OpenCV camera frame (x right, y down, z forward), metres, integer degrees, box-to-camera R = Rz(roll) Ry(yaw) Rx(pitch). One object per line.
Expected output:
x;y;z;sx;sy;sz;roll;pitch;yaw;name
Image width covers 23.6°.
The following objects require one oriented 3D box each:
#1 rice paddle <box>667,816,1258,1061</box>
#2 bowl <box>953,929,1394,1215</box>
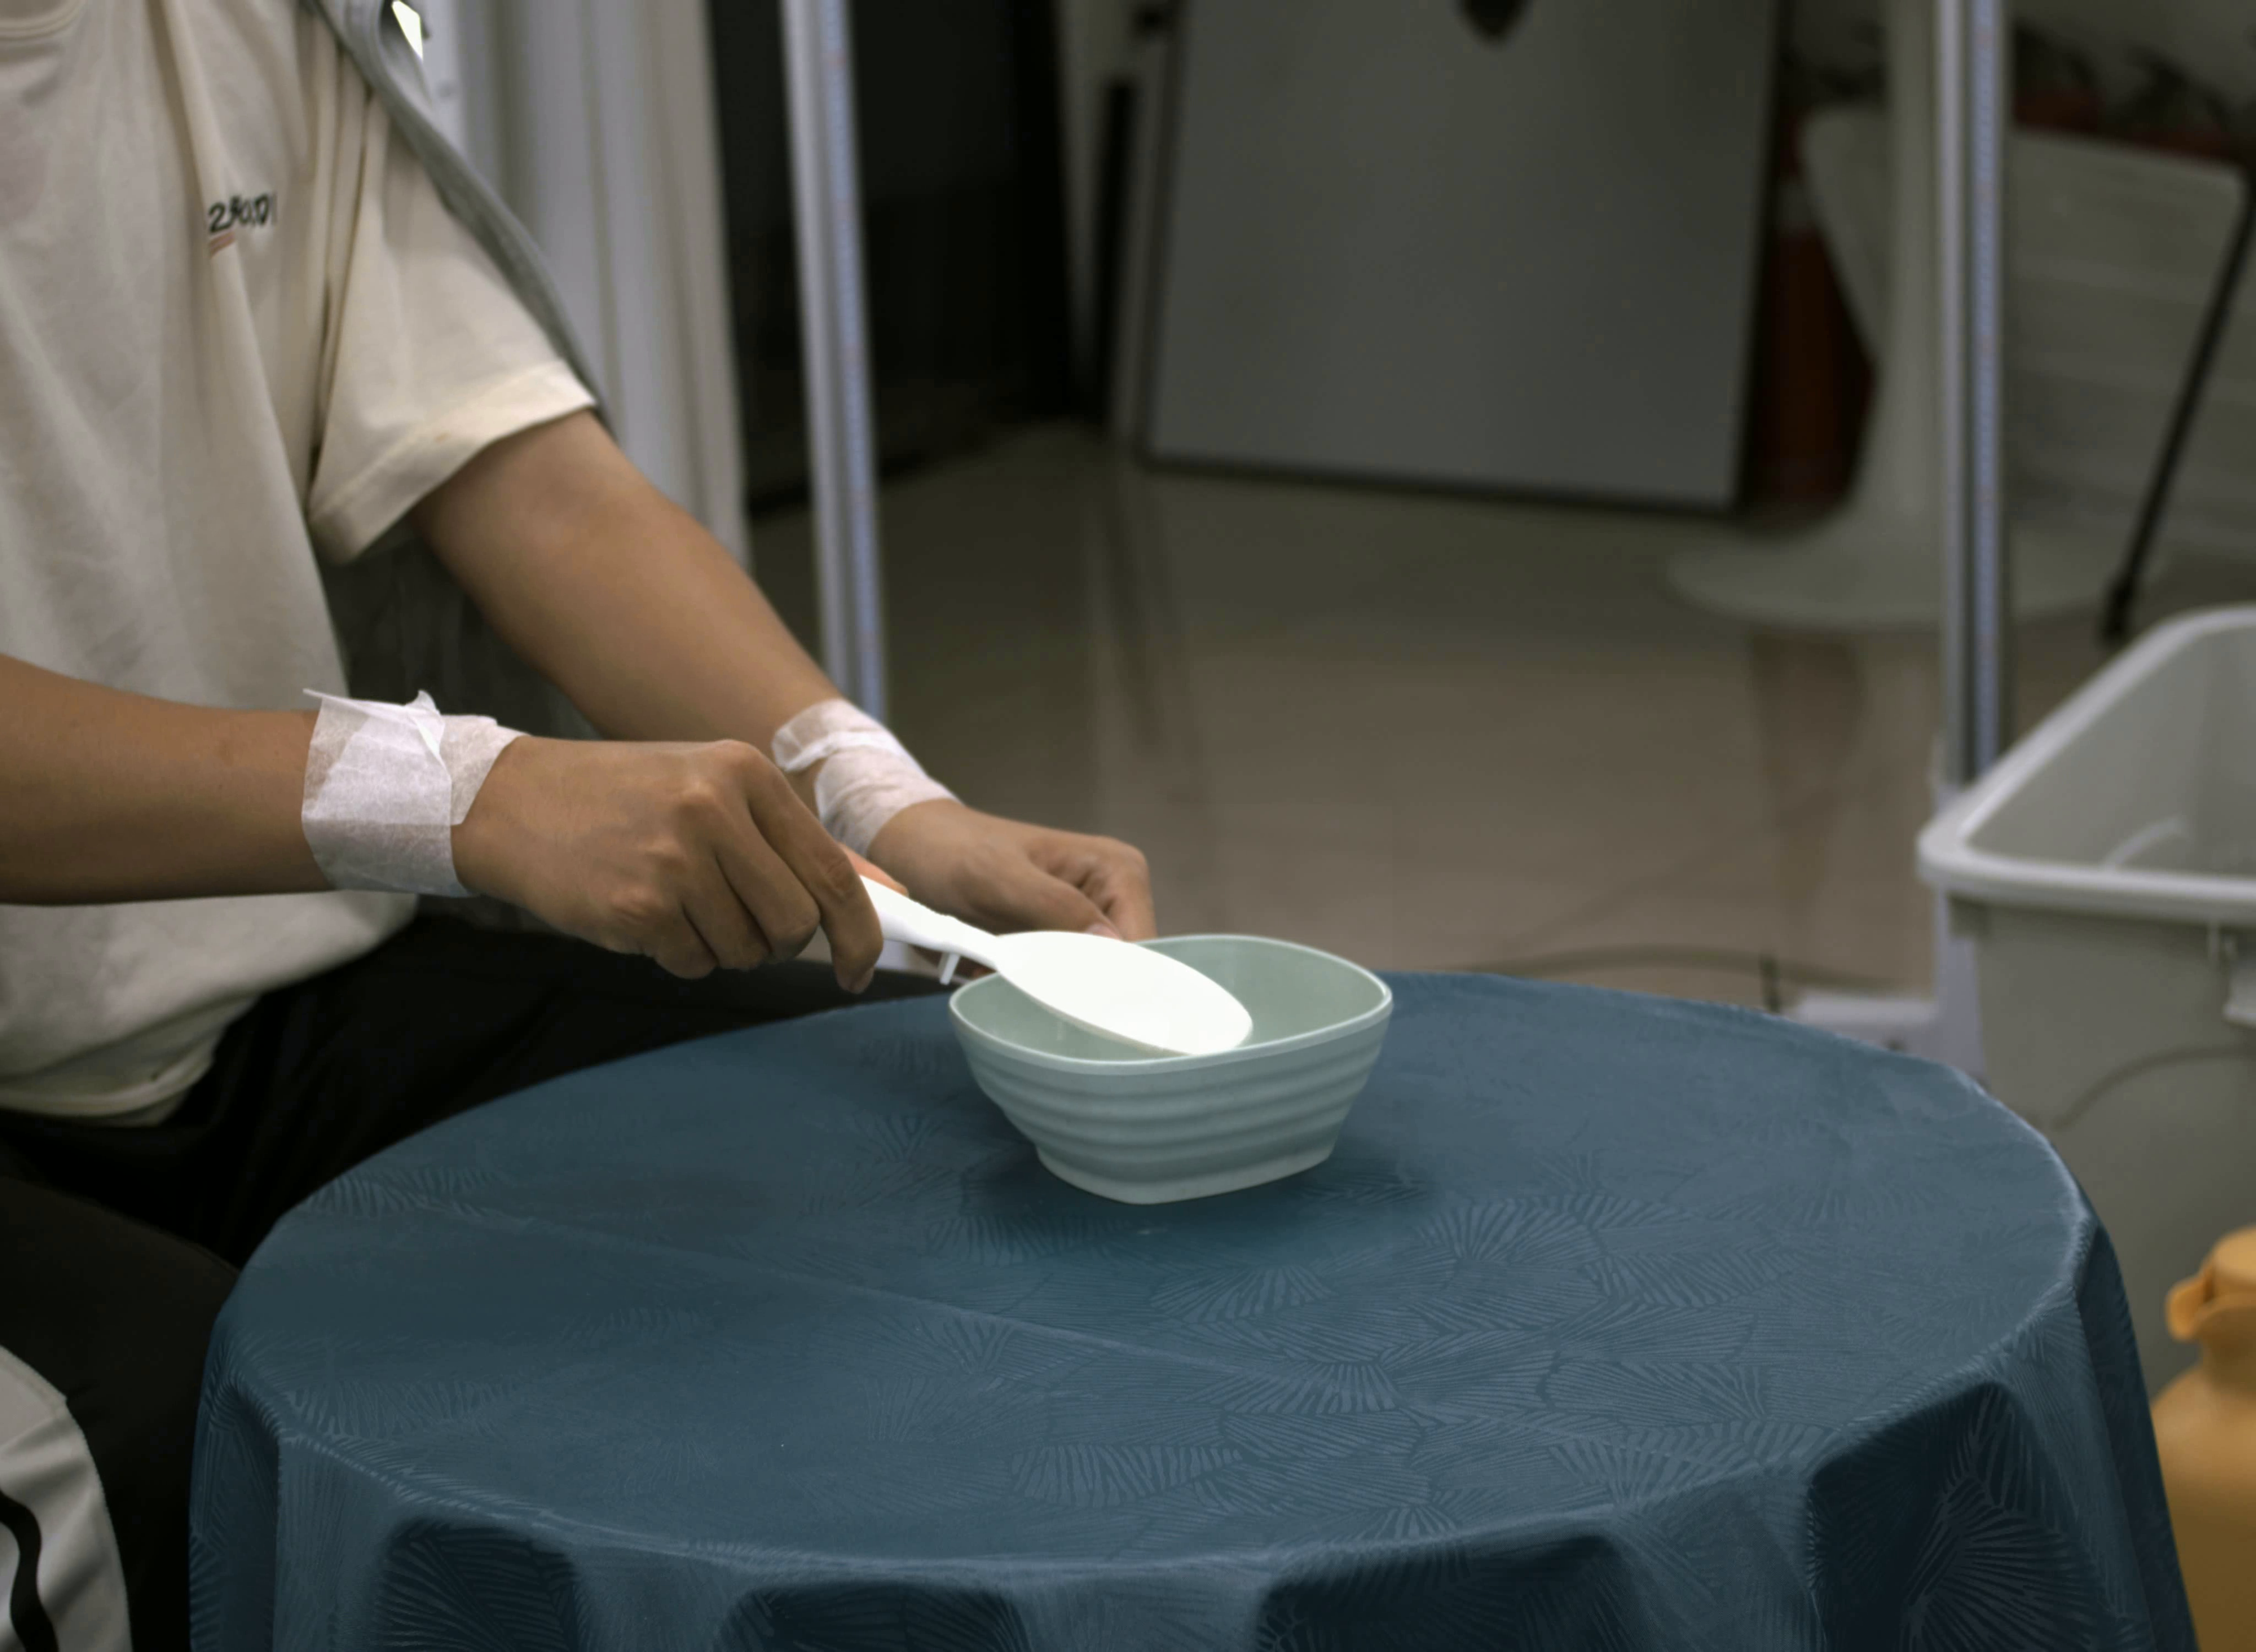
-0.050;0.039;1.764;0.202;0.030;0.069;17;24;-12;rice paddle
0.016;0.085;1.797;0.149;0.059;0.152;-3;16;0;bowl
